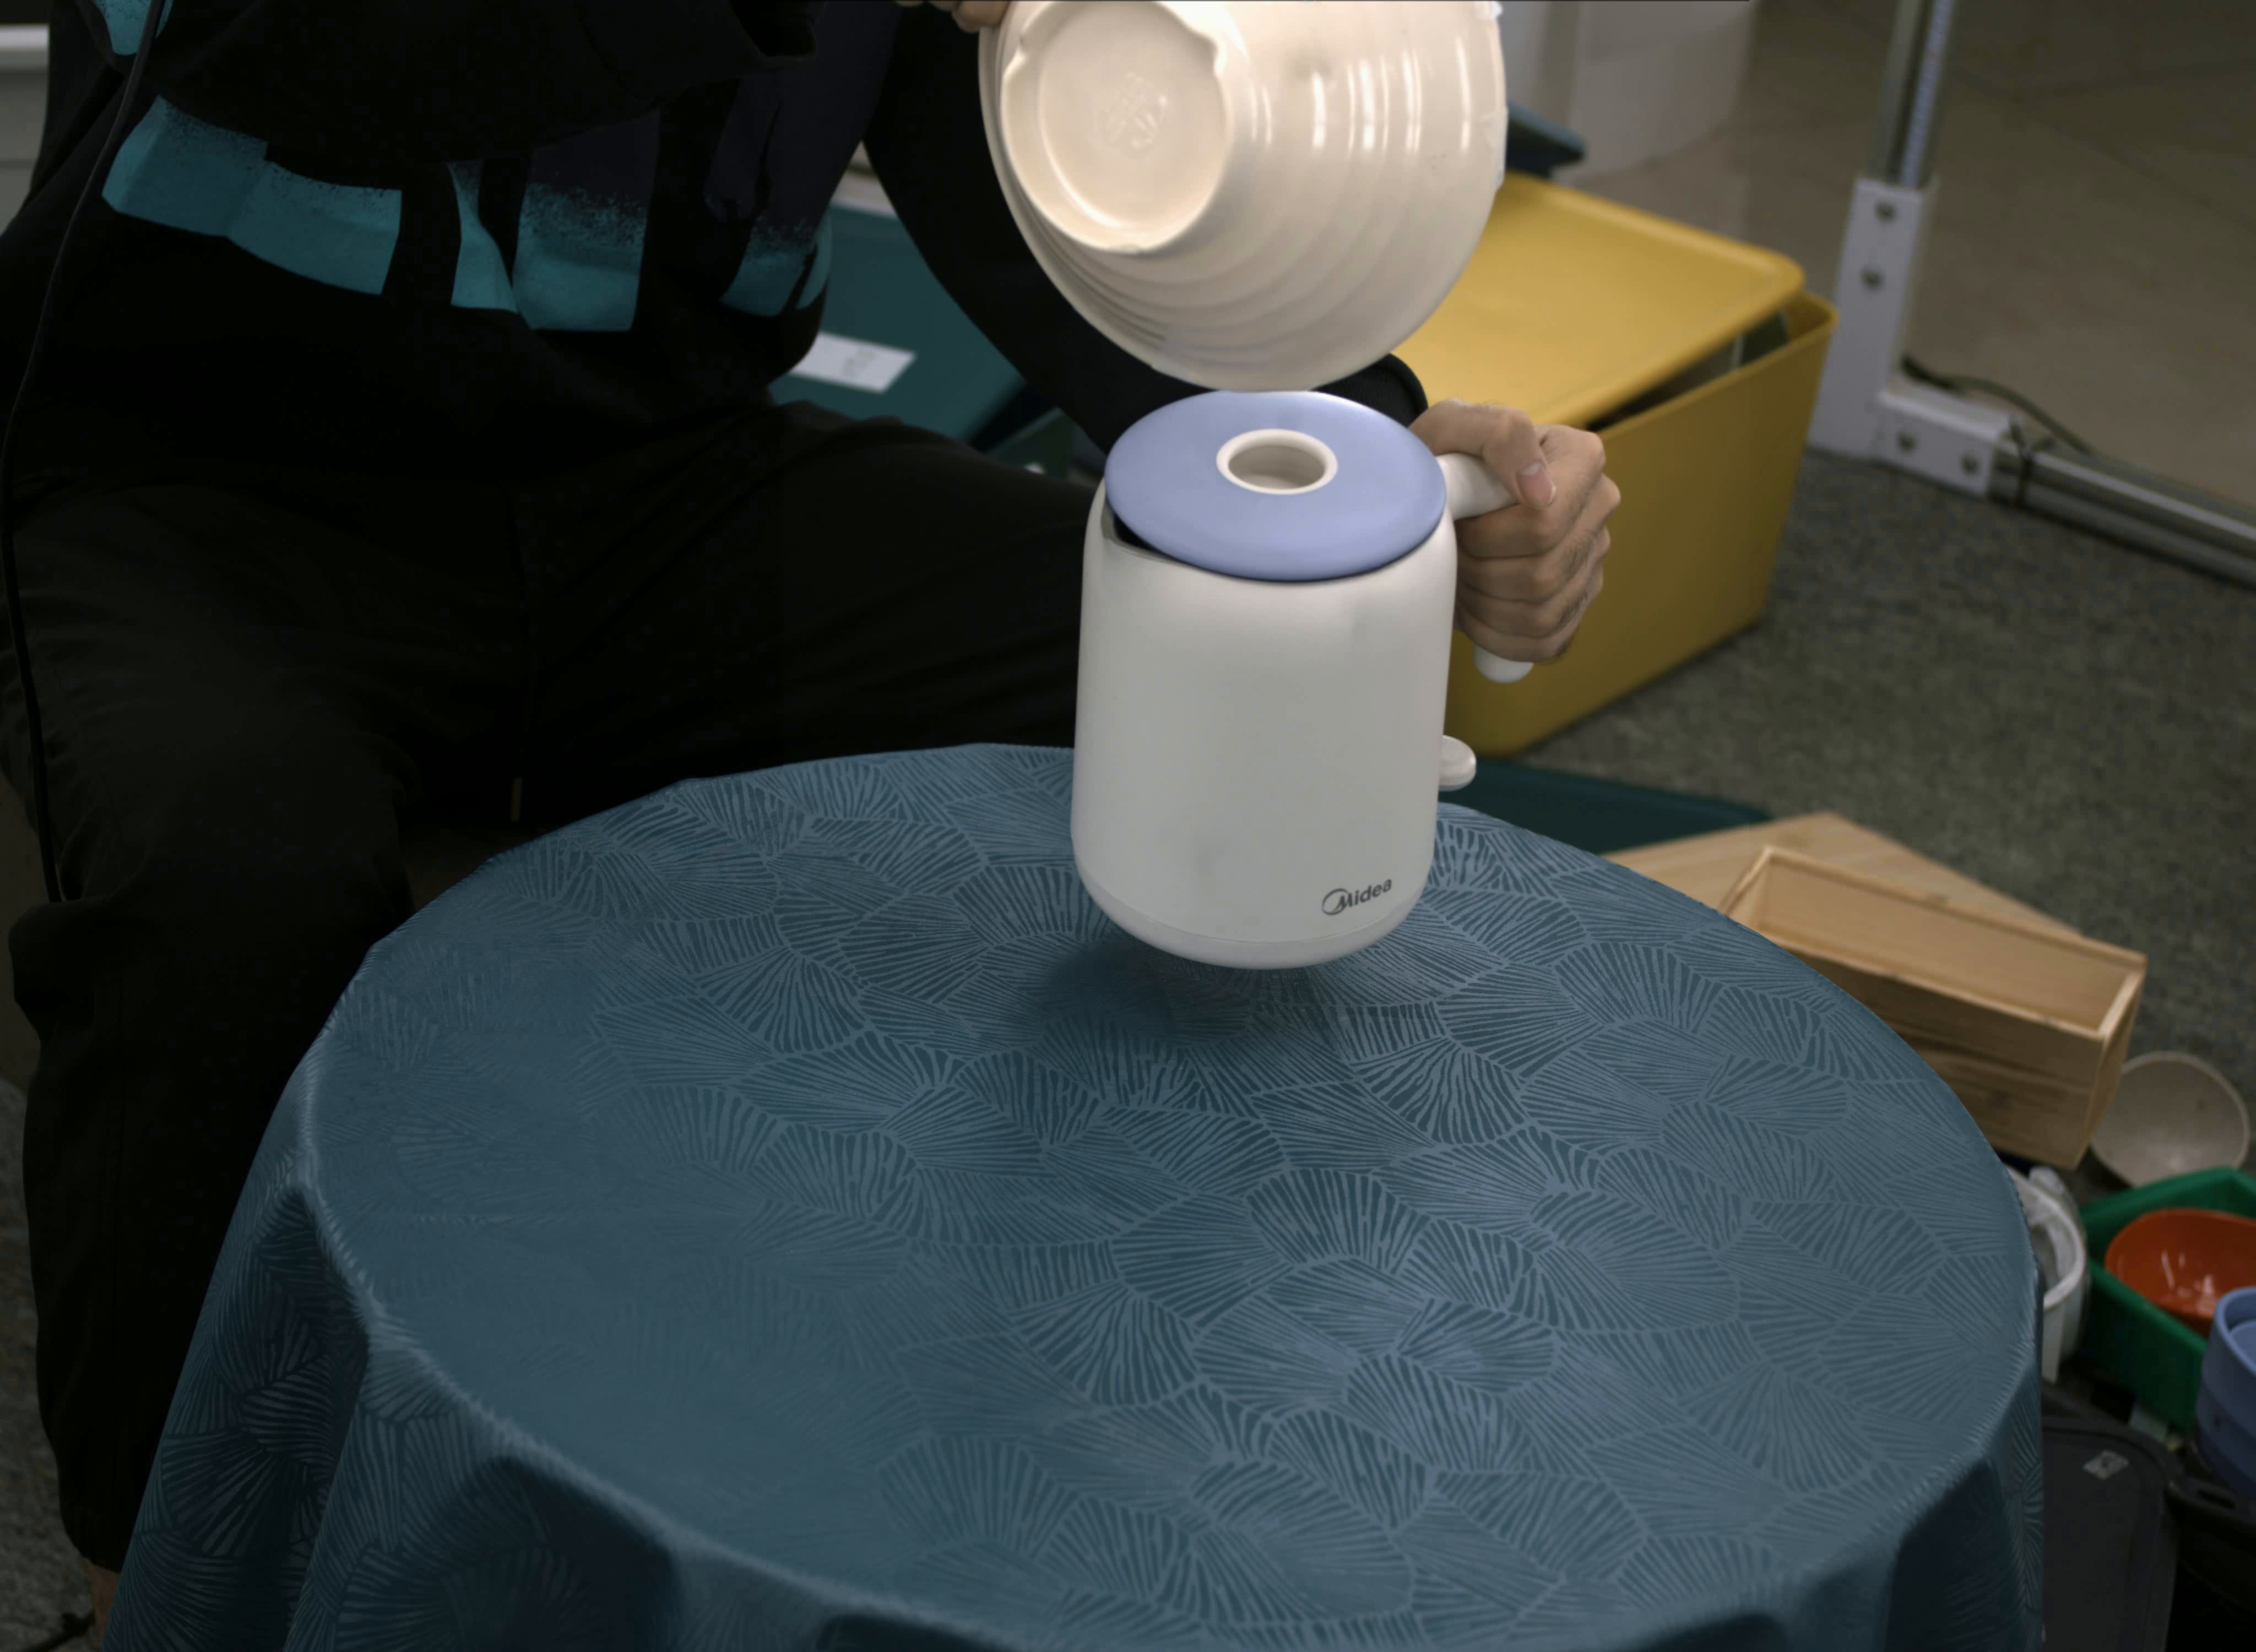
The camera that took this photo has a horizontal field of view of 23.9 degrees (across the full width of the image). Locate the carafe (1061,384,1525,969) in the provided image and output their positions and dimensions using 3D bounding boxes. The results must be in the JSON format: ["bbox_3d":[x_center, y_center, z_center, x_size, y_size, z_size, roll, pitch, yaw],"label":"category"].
[{"bbox_3d":[0.066,-0.060,1.888,0.190,0.182,0.133,-18,41,-30],"label":"carafe"}]

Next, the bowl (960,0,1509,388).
[{"bbox_3d":[0.015,-0.235,1.712,0.205,0.203,0.077,20,23,25],"label":"bowl"}]
